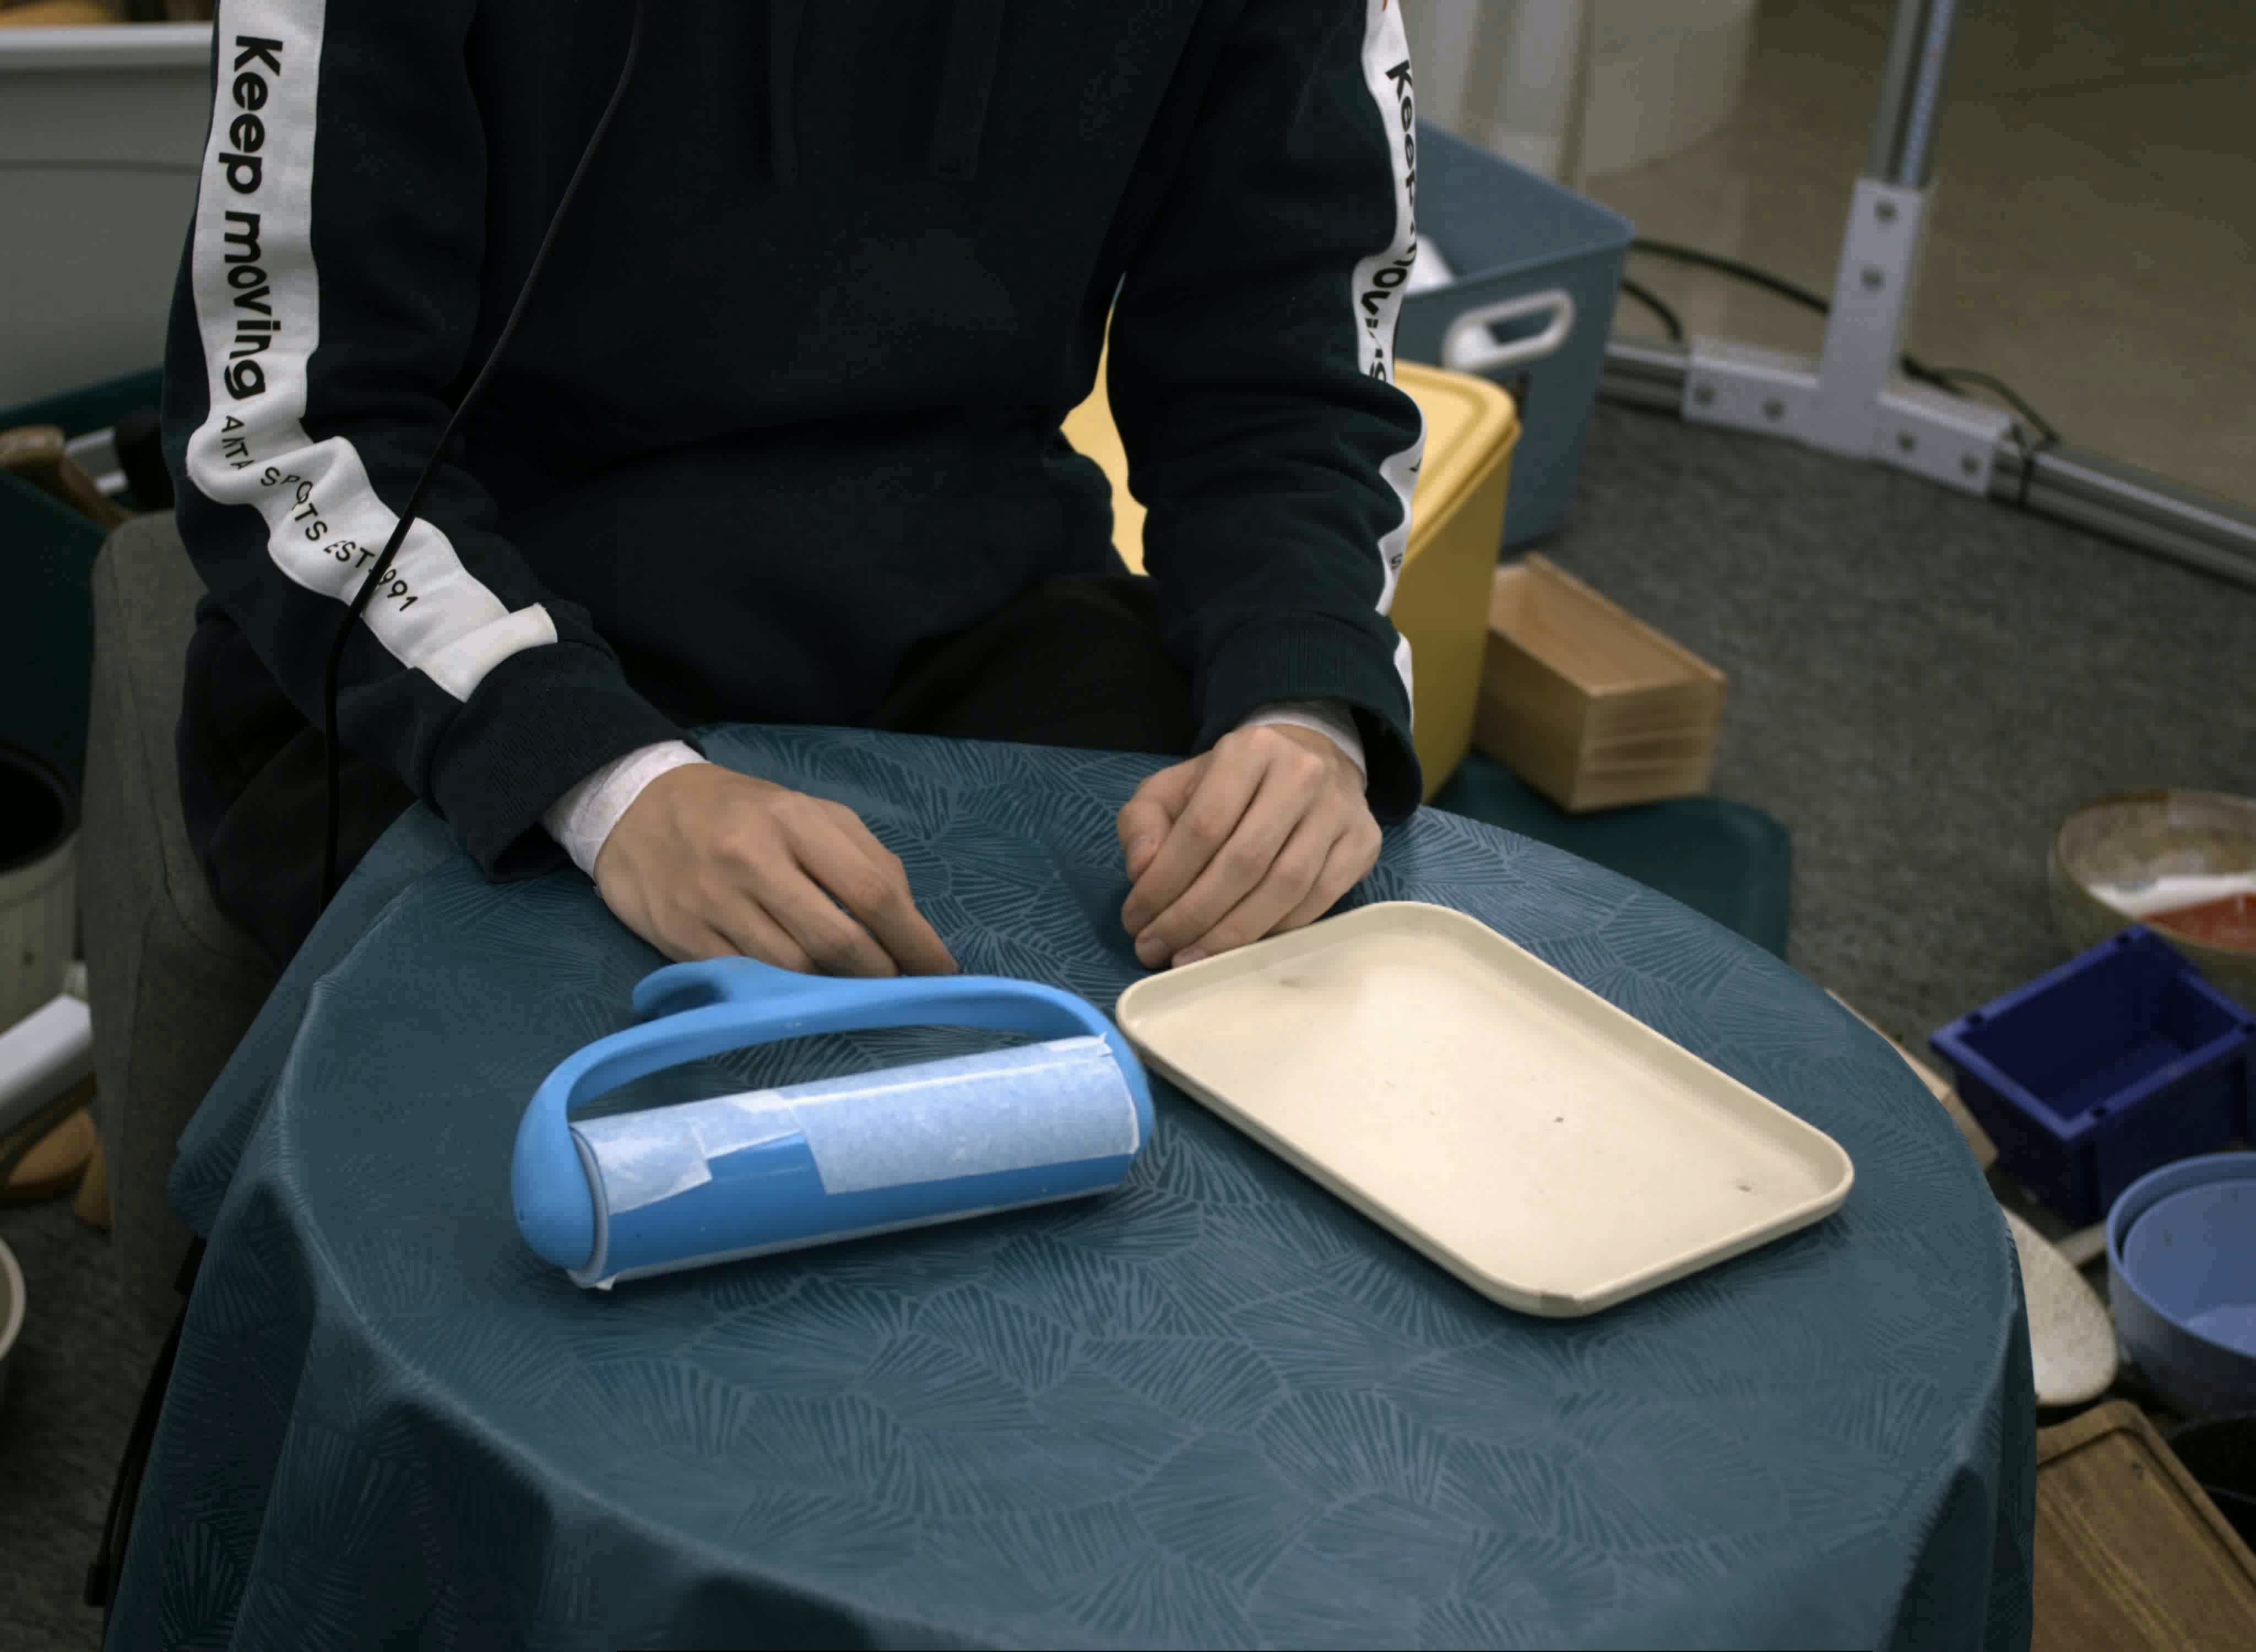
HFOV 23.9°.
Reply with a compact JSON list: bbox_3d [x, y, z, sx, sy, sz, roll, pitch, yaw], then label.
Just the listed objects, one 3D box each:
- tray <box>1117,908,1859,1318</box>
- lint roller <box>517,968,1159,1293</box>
[{"bbox_3d":[0.123,0.099,1.856,0.170,0.017,0.241,-16,34,-38],"label":"tray"},{"bbox_3d":[-0.122,0.083,1.789,0.227,0.067,0.182,-11,32,-29],"label":"lint roller"}]
